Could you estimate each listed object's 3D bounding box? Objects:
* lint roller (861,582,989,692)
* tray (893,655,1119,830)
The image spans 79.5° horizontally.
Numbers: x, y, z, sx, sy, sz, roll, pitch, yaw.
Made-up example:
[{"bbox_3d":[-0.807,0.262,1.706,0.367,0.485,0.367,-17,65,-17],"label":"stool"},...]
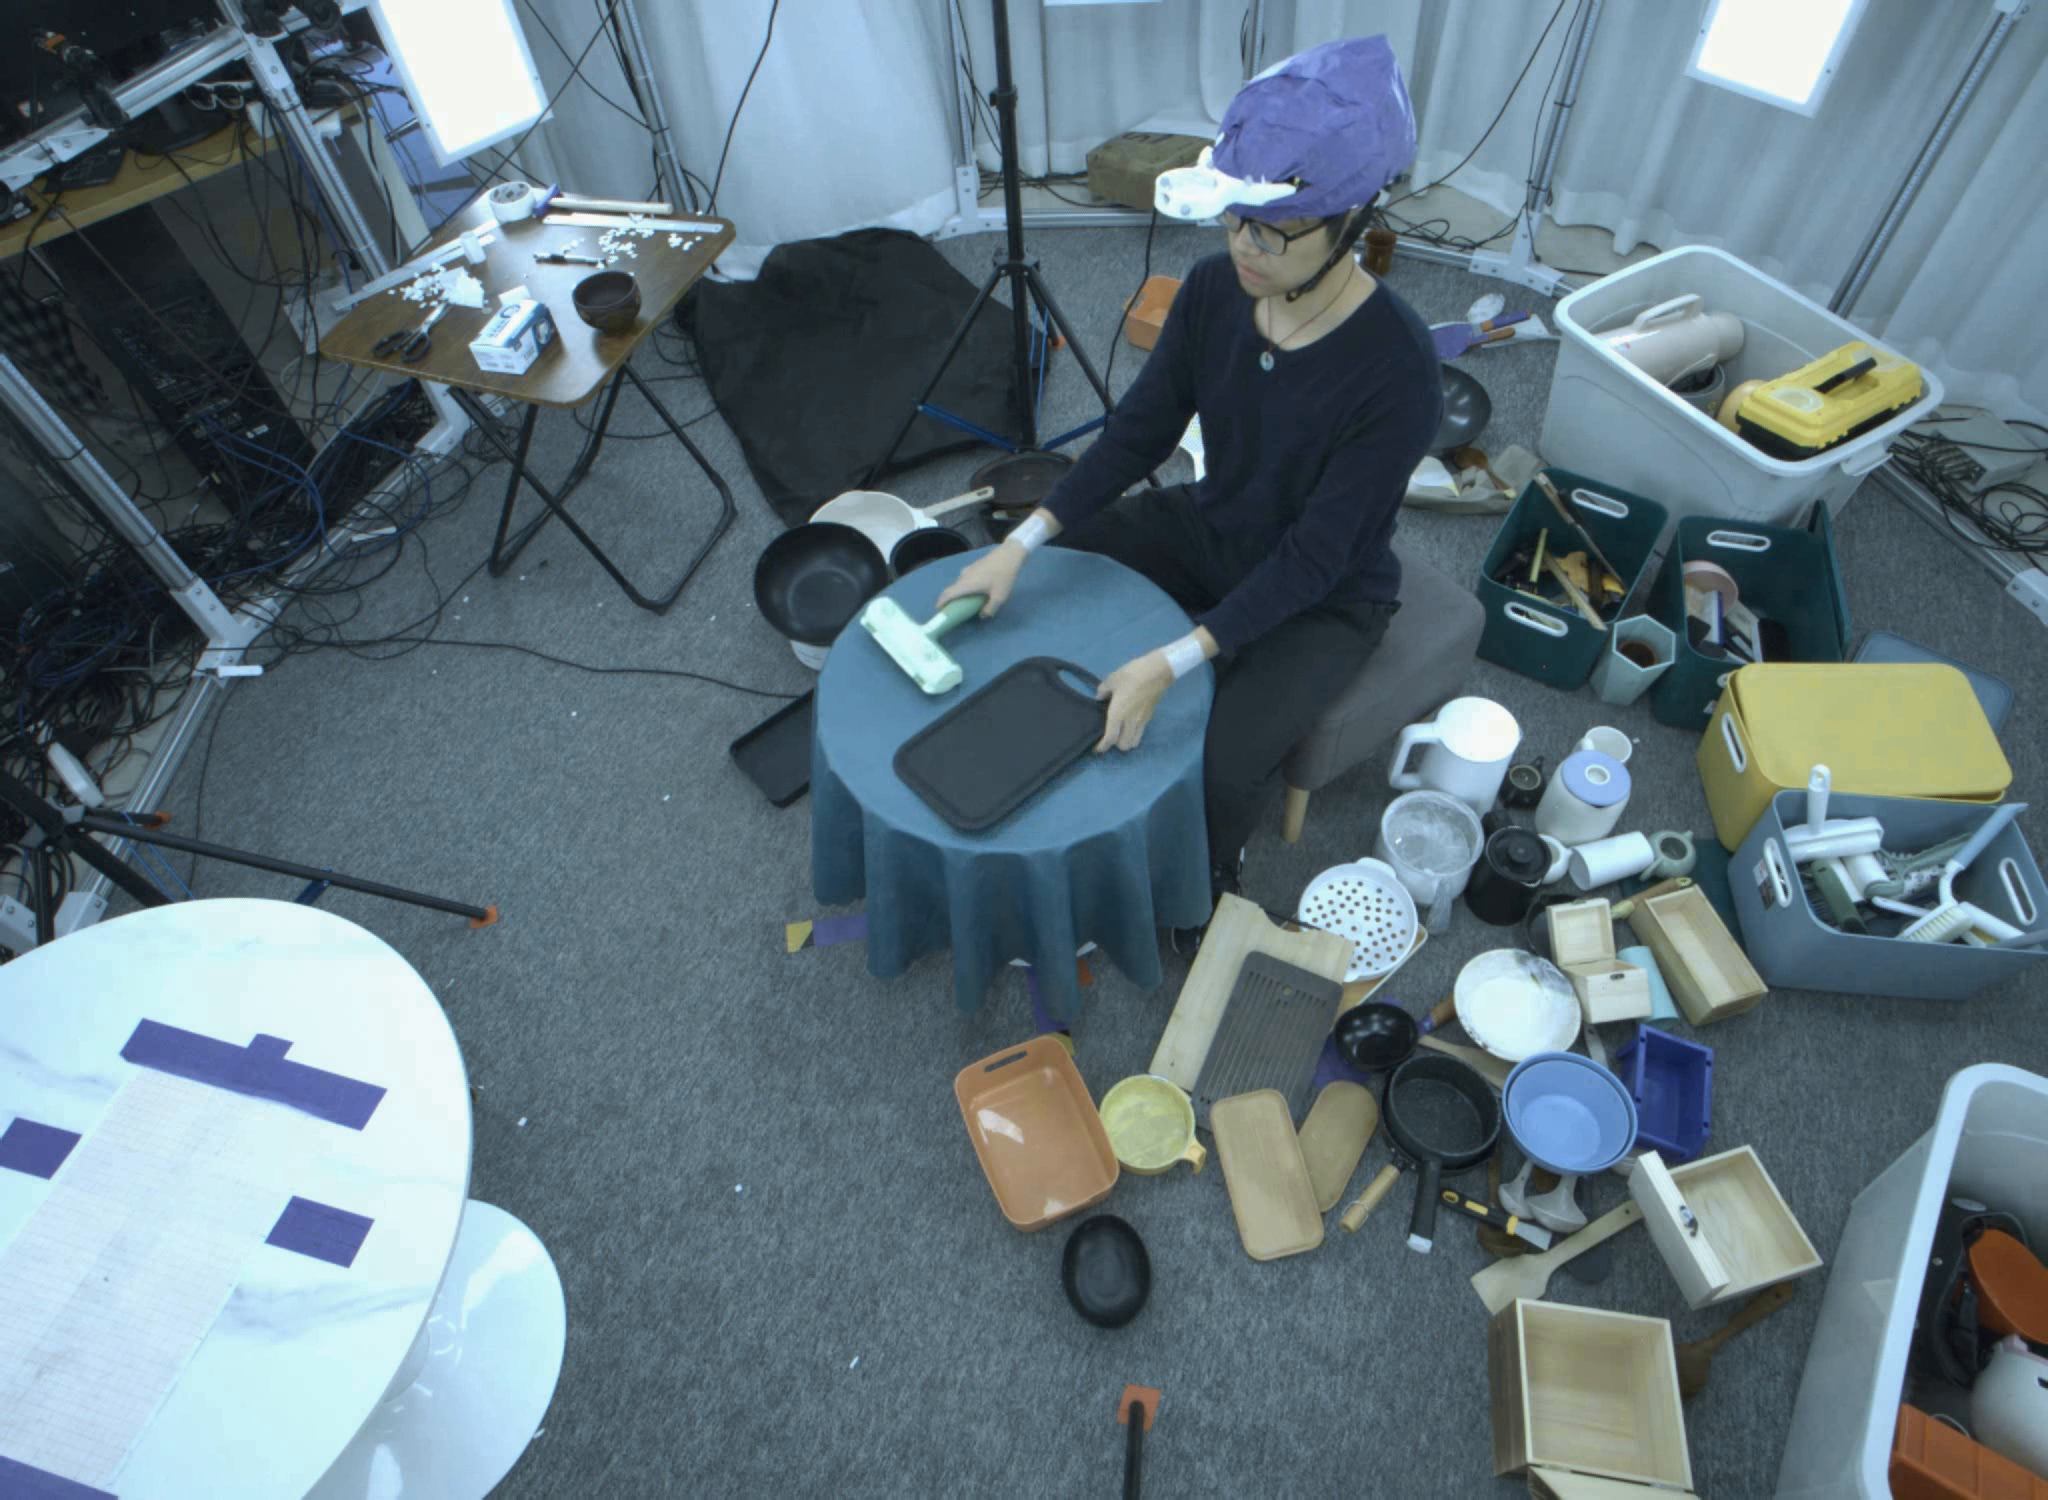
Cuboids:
[{"bbox_3d":[-0.134,-0.206,1.873,0.183,0.083,0.195,-44,62,-2],"label":"lint roller"},{"bbox_3d":[-0.020,-0.024,1.790,0.328,0.010,0.207,-37,56,-21],"label":"tray"}]
